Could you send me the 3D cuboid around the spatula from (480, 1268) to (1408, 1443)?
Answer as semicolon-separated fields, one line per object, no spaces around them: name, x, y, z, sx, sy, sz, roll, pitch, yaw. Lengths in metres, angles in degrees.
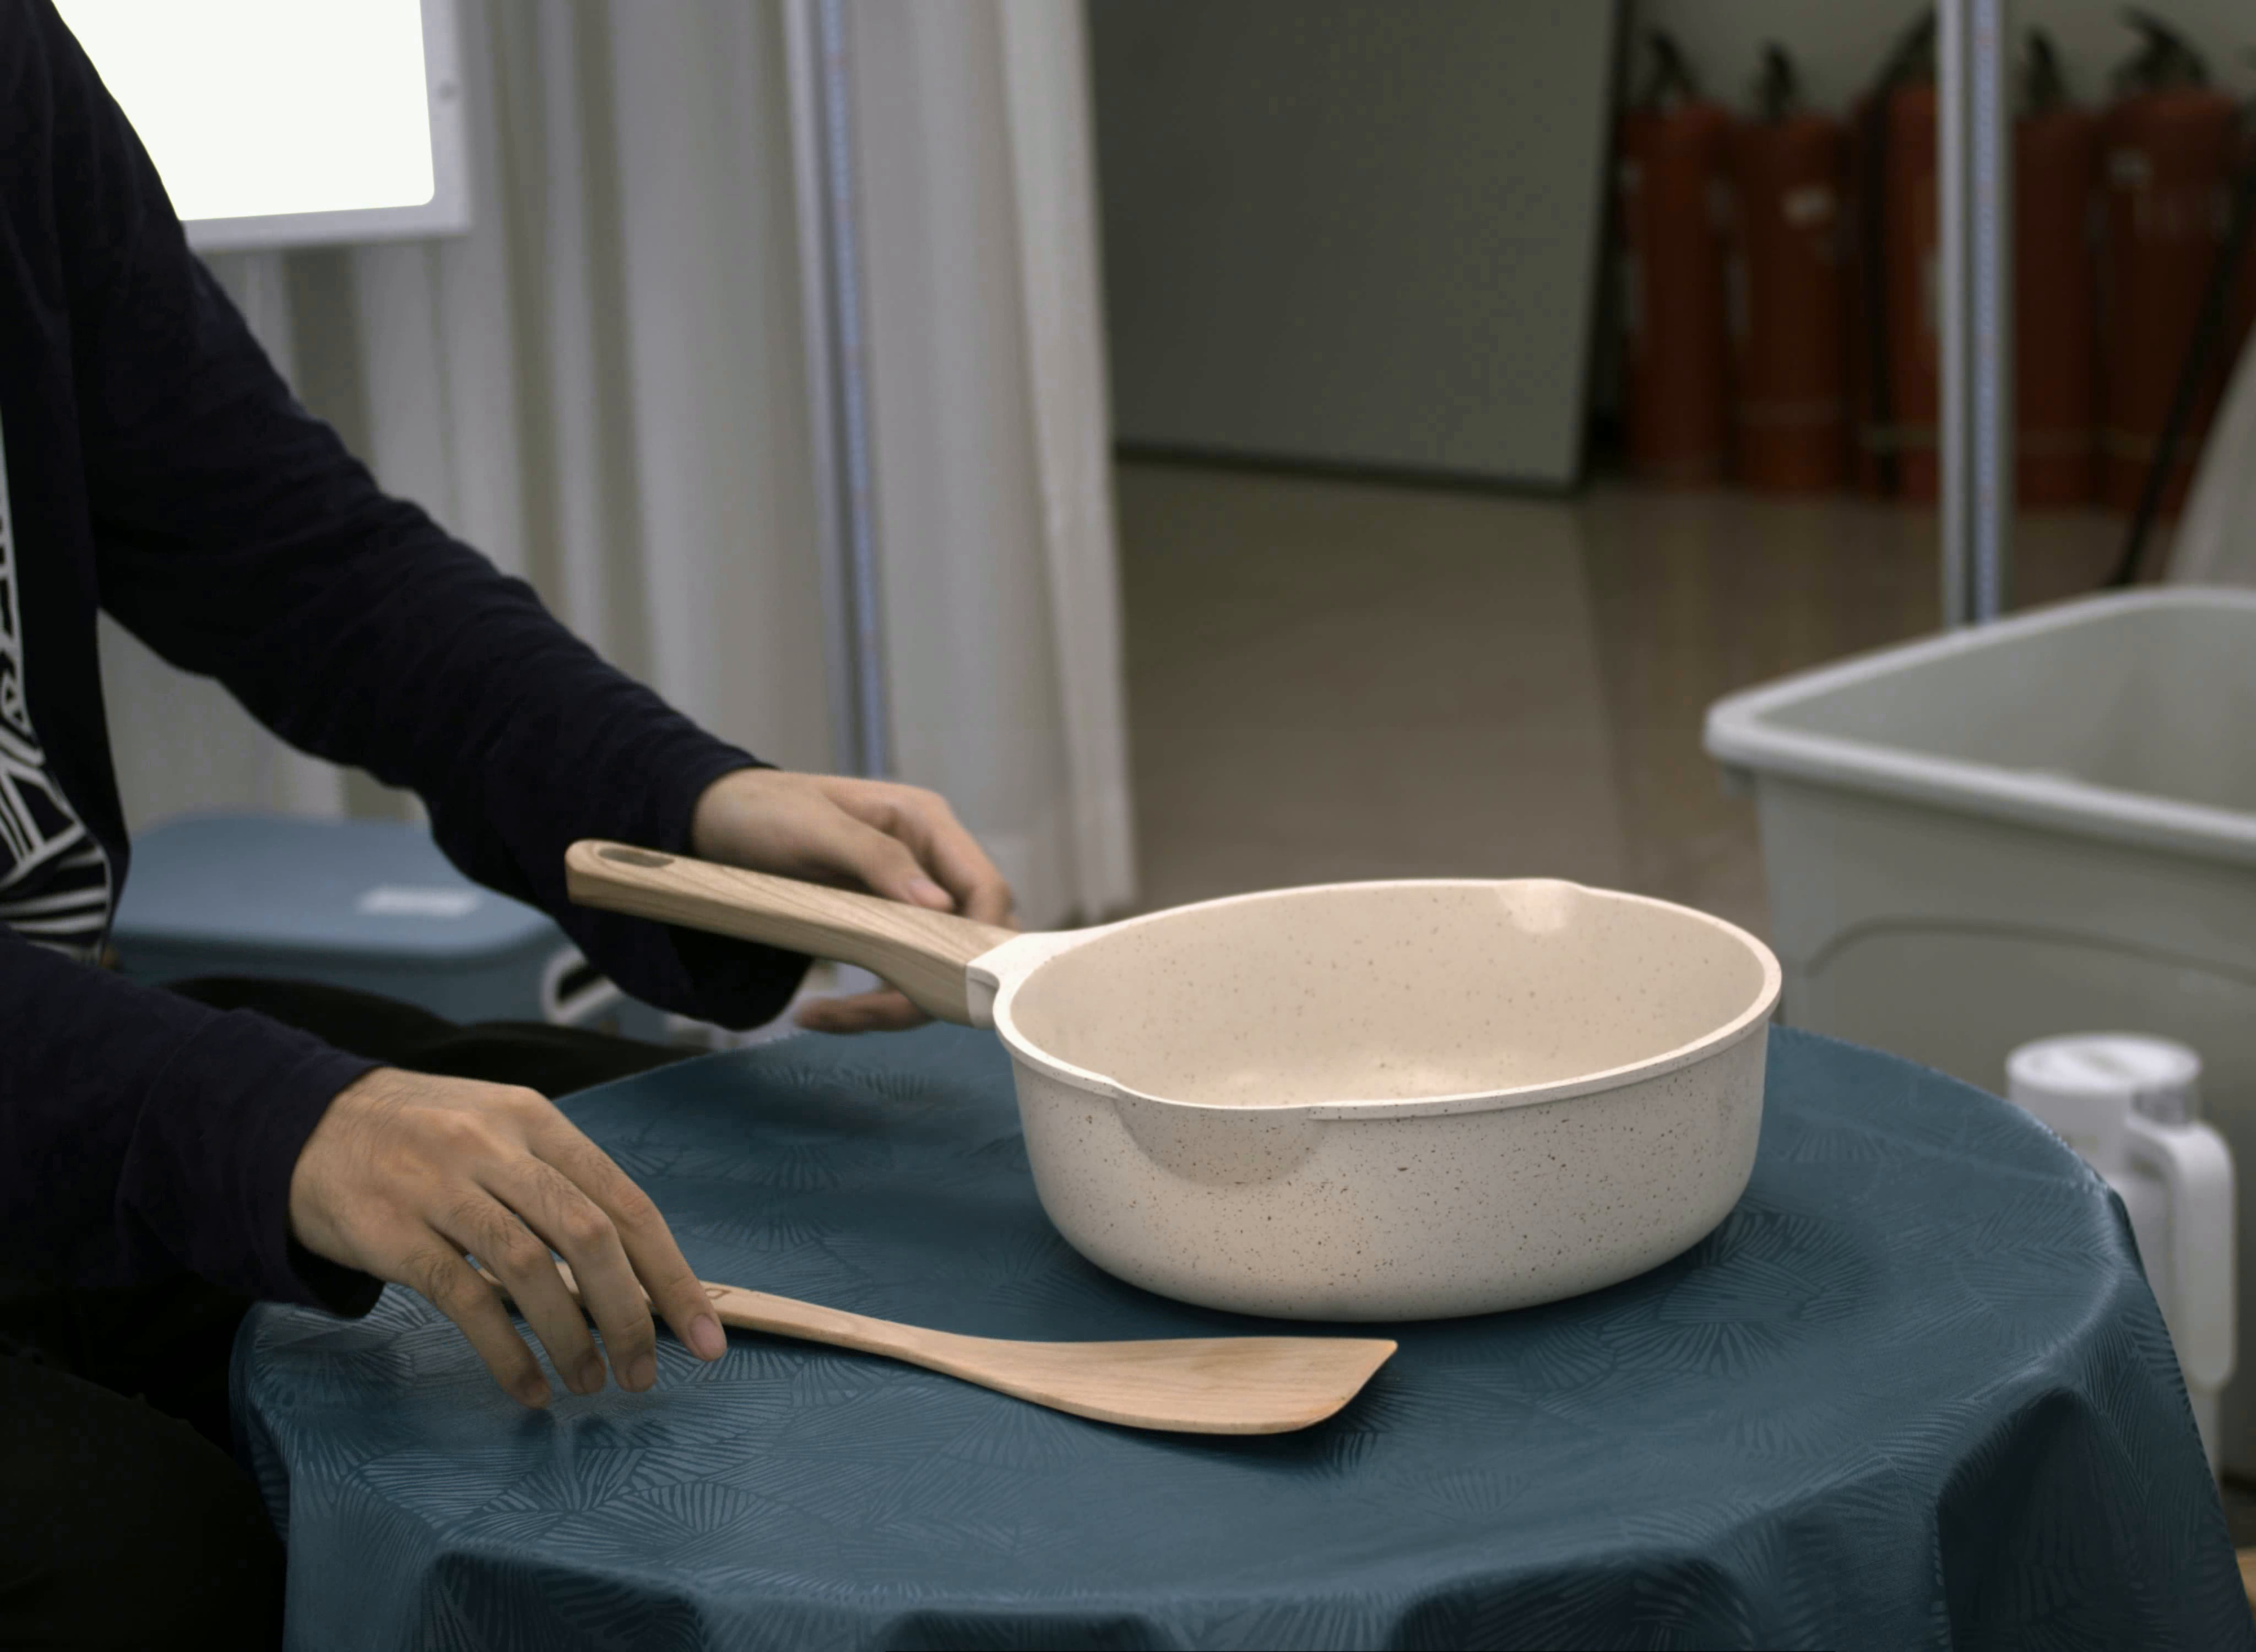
spatula;-0.063;0.155;1.634;0.329;0.017;0.078;6;17;31

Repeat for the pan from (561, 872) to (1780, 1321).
pan;0.004;0.076;1.762;0.436;0.103;0.259;3;16;29
